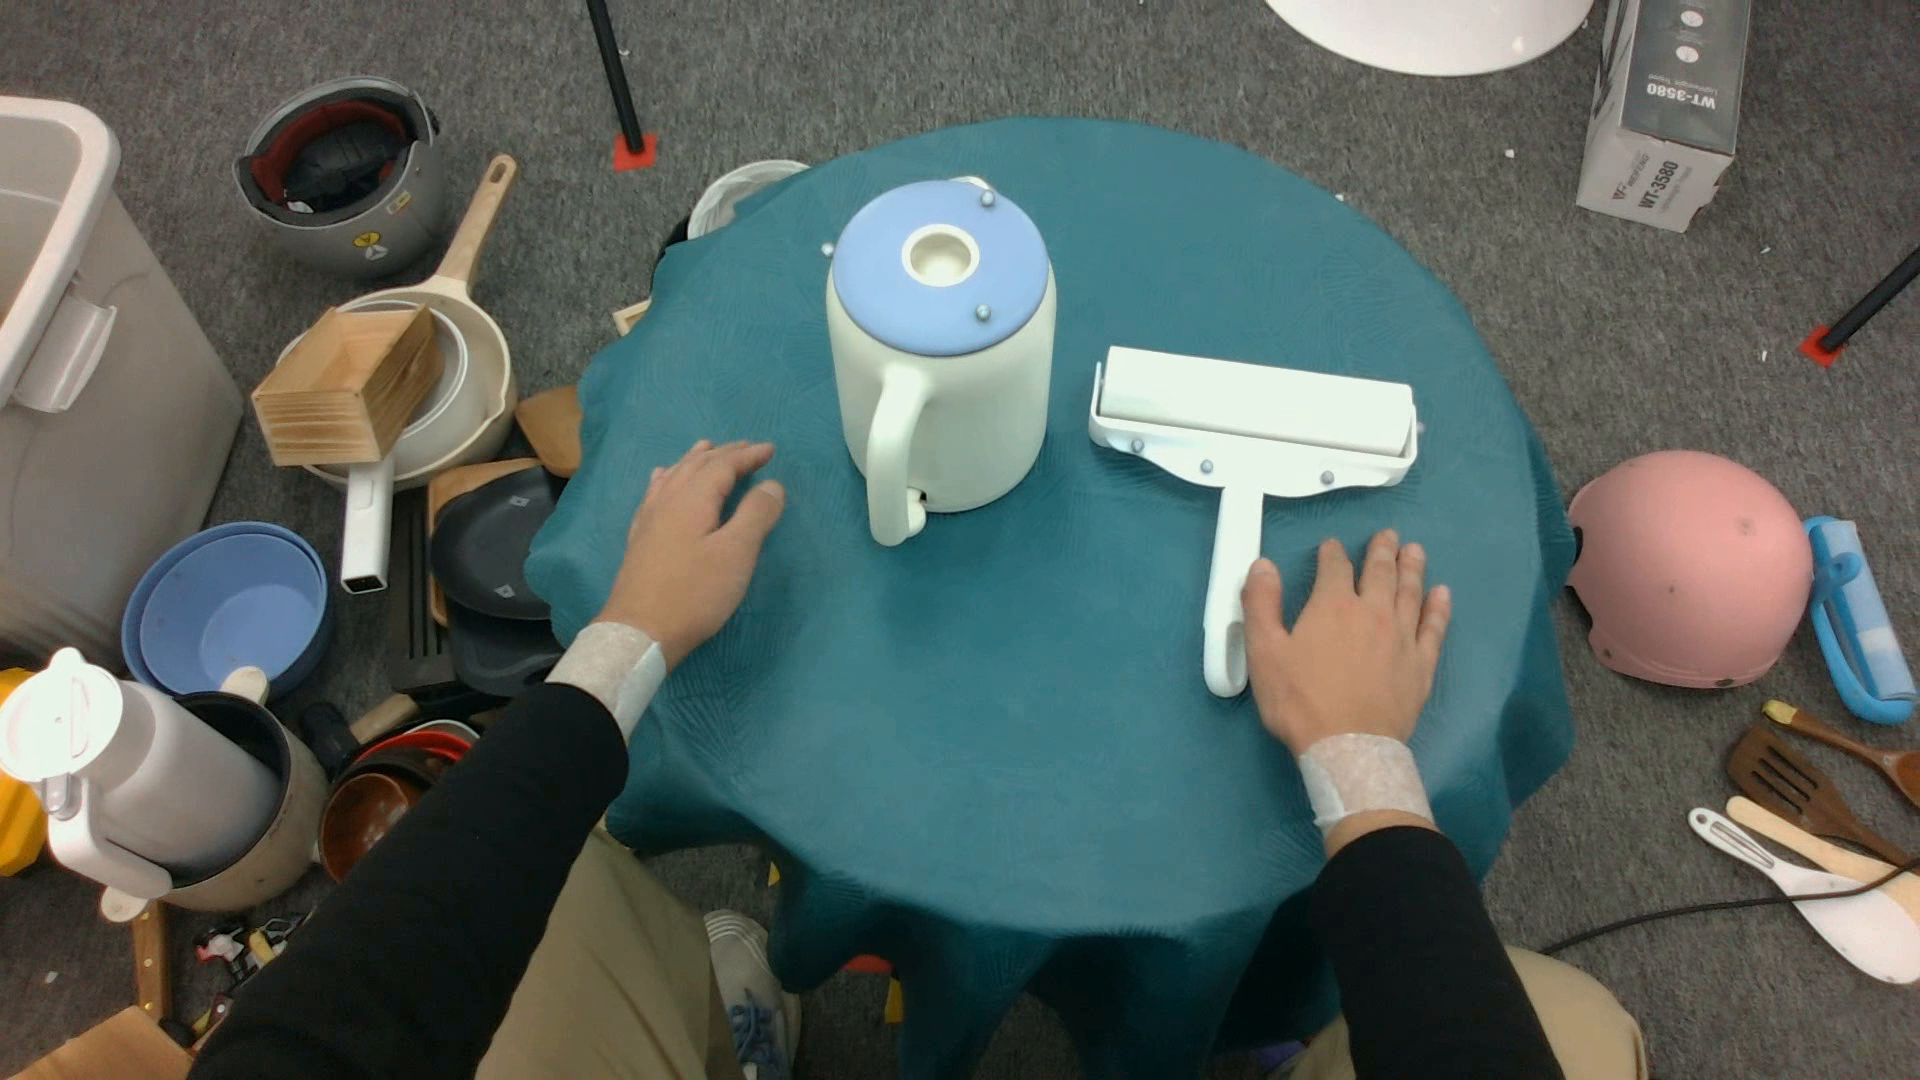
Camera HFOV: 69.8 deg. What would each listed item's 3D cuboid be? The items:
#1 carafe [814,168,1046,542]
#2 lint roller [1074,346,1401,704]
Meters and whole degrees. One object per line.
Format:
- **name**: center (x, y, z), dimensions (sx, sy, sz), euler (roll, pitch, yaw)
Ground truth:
- **carafe**: center (-0.023, -0.094, 0.810), dimensions (0.132, 0.182, 0.192), euler (13, 65, 7)
- **lint roller**: center (0.164, -0.010, 0.840), dimensions (0.203, 0.048, 0.226), euler (9, 63, 2)
